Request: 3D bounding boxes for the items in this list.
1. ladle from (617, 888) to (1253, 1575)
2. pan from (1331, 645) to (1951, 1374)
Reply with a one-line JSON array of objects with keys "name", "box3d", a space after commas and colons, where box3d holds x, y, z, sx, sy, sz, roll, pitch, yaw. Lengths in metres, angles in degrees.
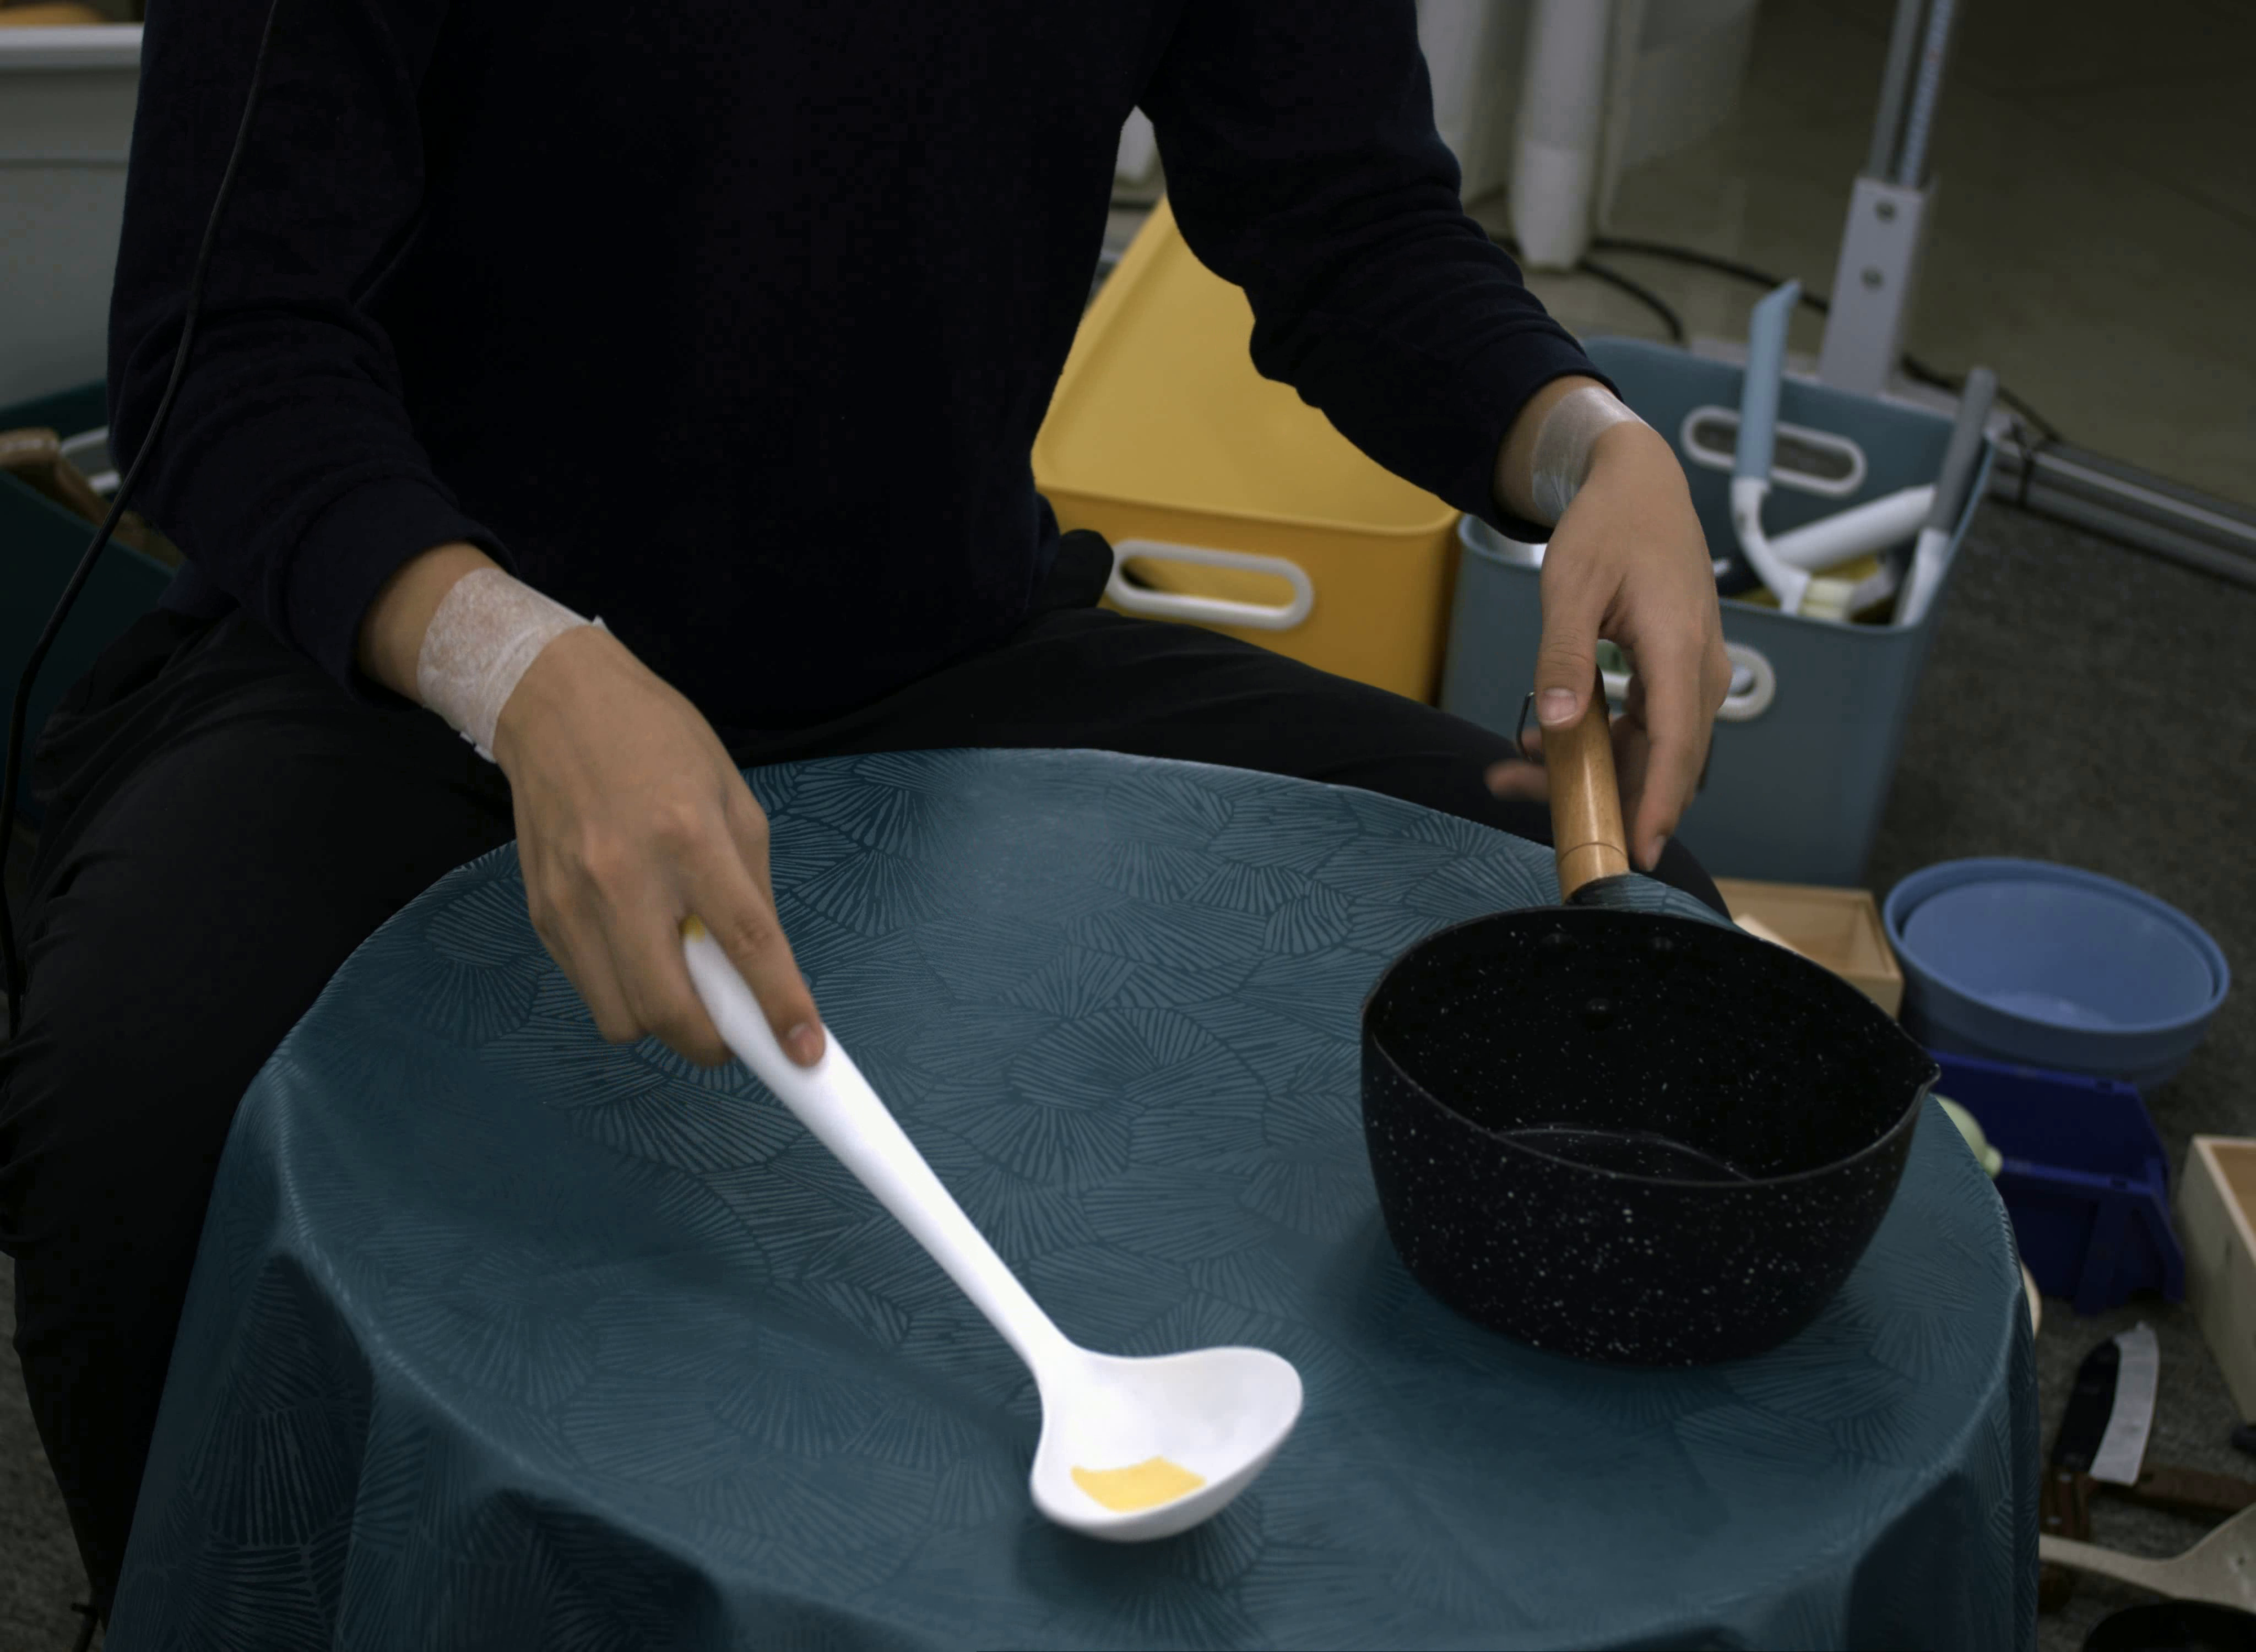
[{"name": "ladle", "box3d": [-0.070, 0.119, 1.661, 0.090, 0.069, 0.295, -38, 63, -9]}, {"name": "pan", "box3d": [0.164, 0.060, 1.846, 0.206, 0.108, 0.345, 3, 29, -5]}]
